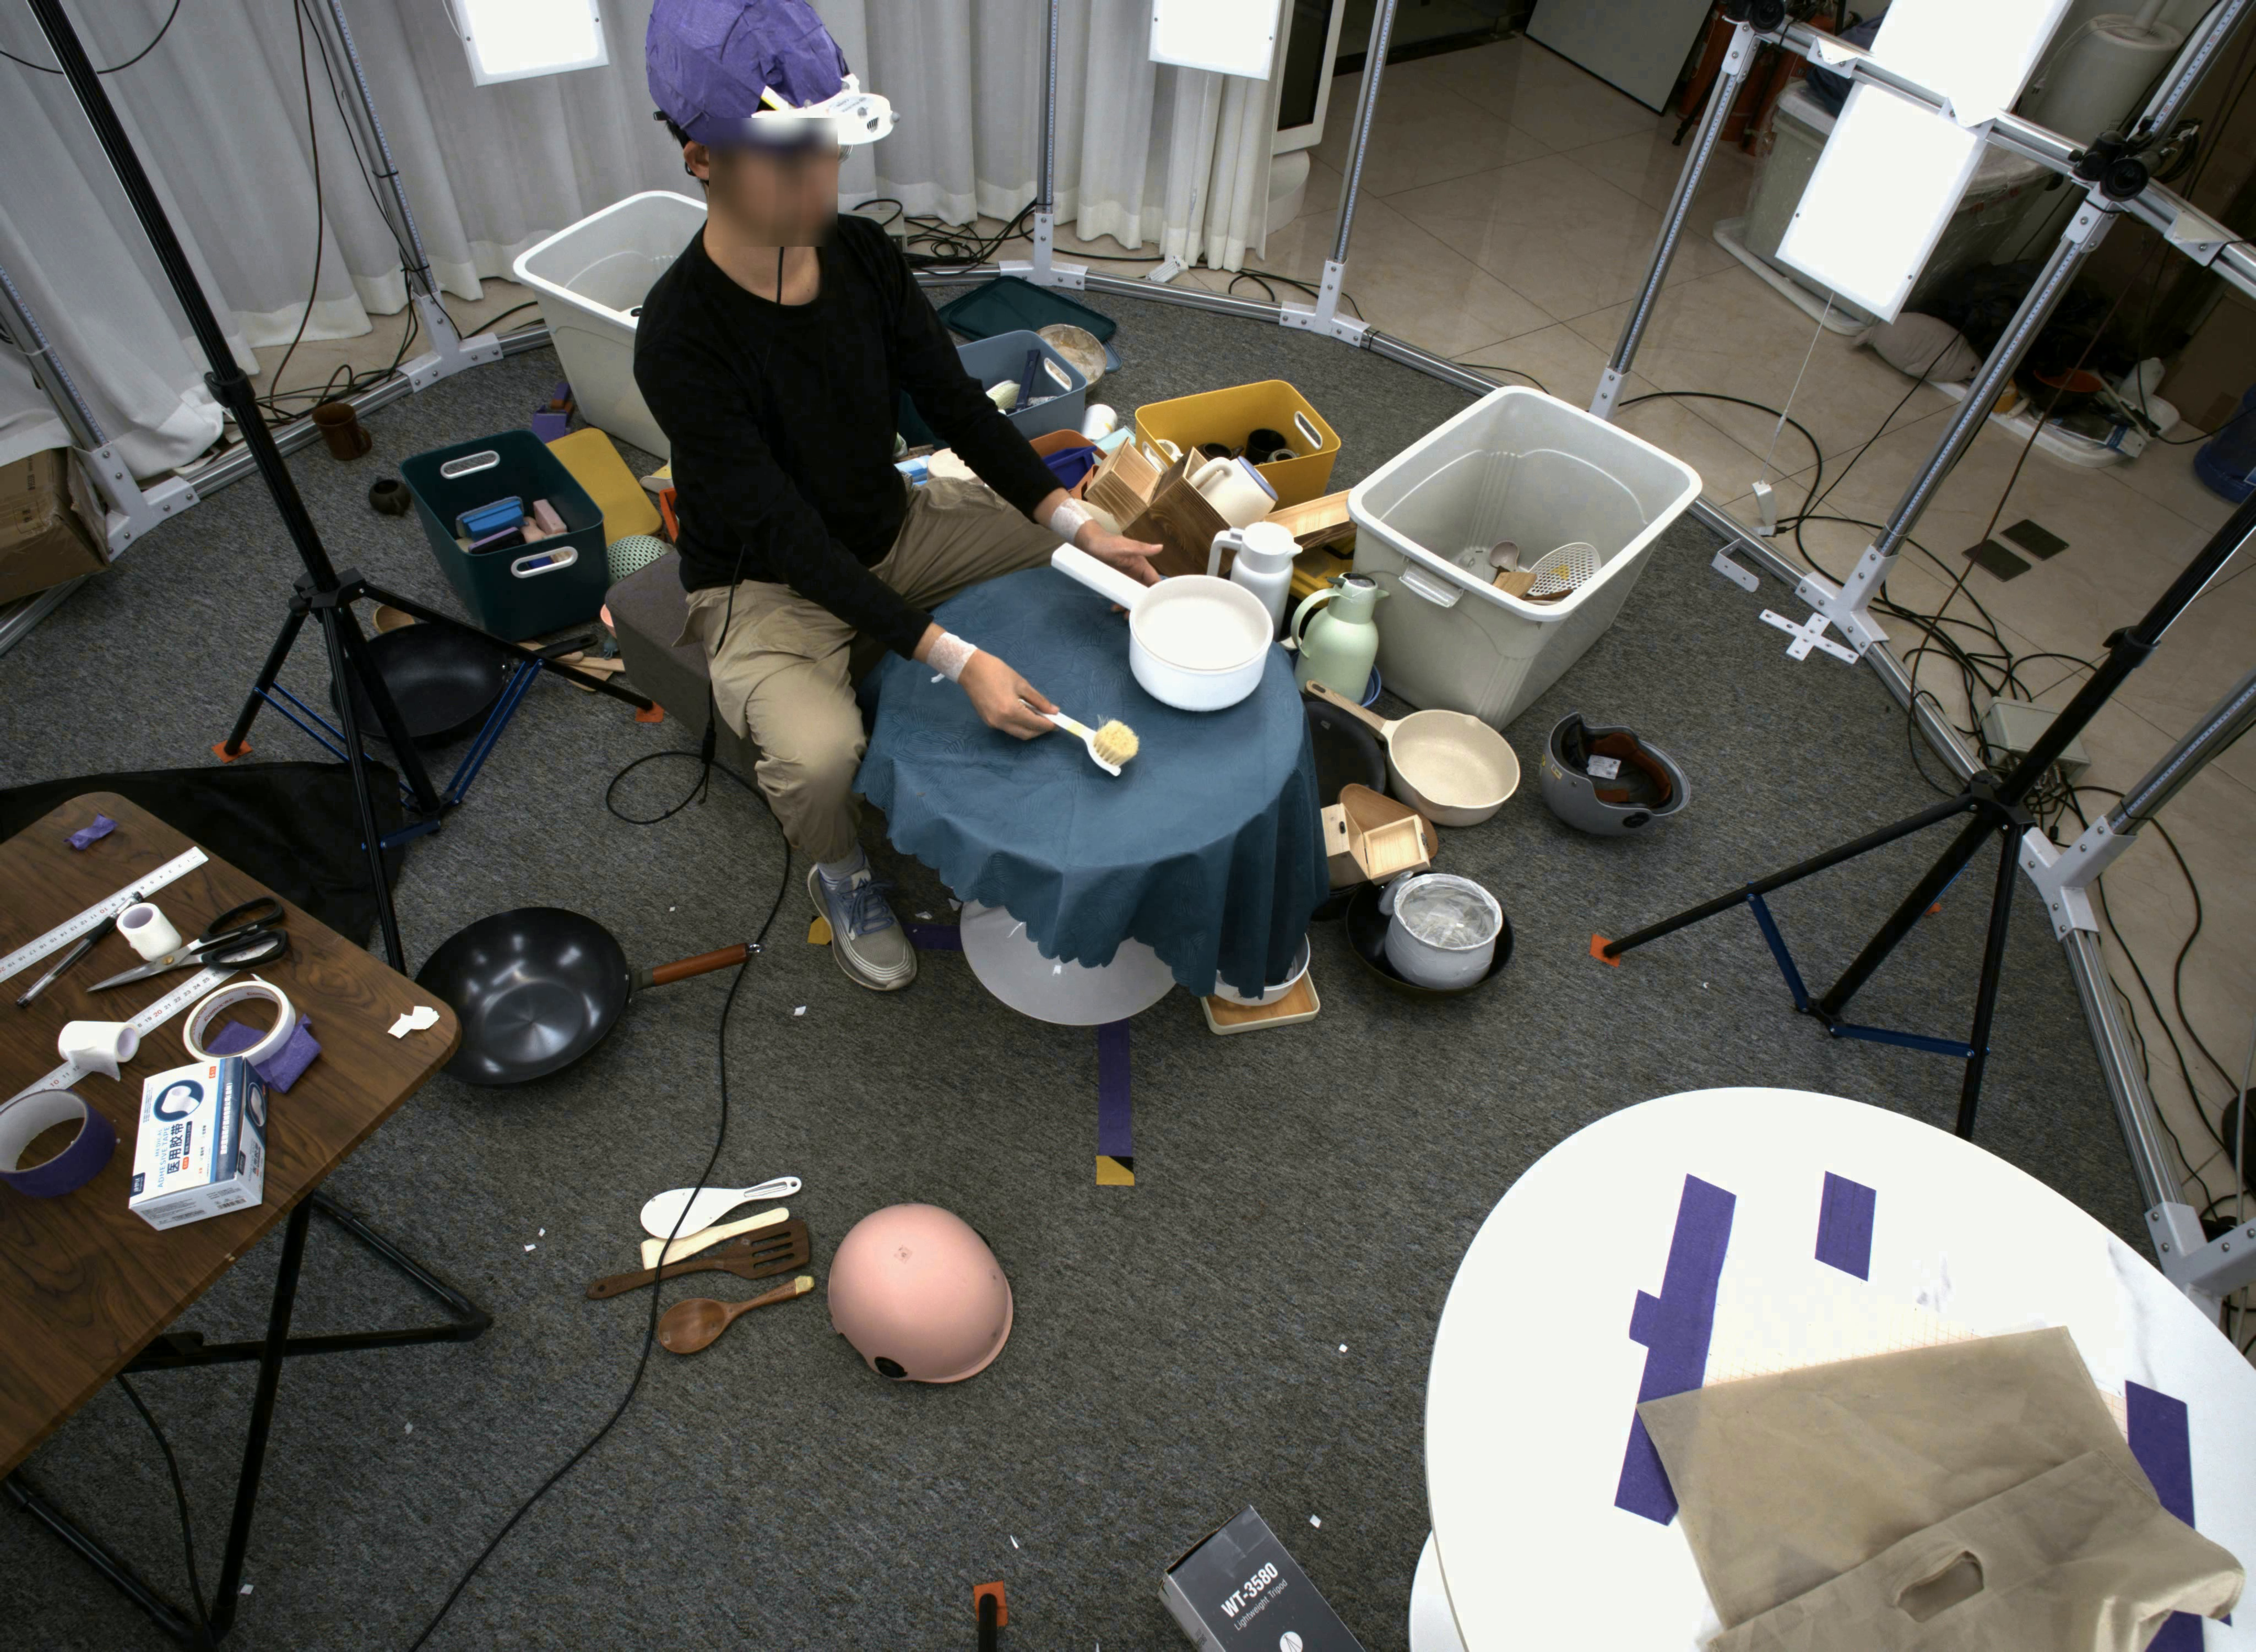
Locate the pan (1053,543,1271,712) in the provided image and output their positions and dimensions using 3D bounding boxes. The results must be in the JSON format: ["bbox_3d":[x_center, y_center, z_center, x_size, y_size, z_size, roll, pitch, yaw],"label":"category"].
[{"bbox_3d":[0.038,-0.293,1.865,0.359,0.099,0.204,31,55,22],"label":"pan"}]

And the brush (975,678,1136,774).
[{"bbox_3d":[-0.102,-0.158,1.754,0.270,0.055,0.068,34,24,23],"label":"brush"}]
